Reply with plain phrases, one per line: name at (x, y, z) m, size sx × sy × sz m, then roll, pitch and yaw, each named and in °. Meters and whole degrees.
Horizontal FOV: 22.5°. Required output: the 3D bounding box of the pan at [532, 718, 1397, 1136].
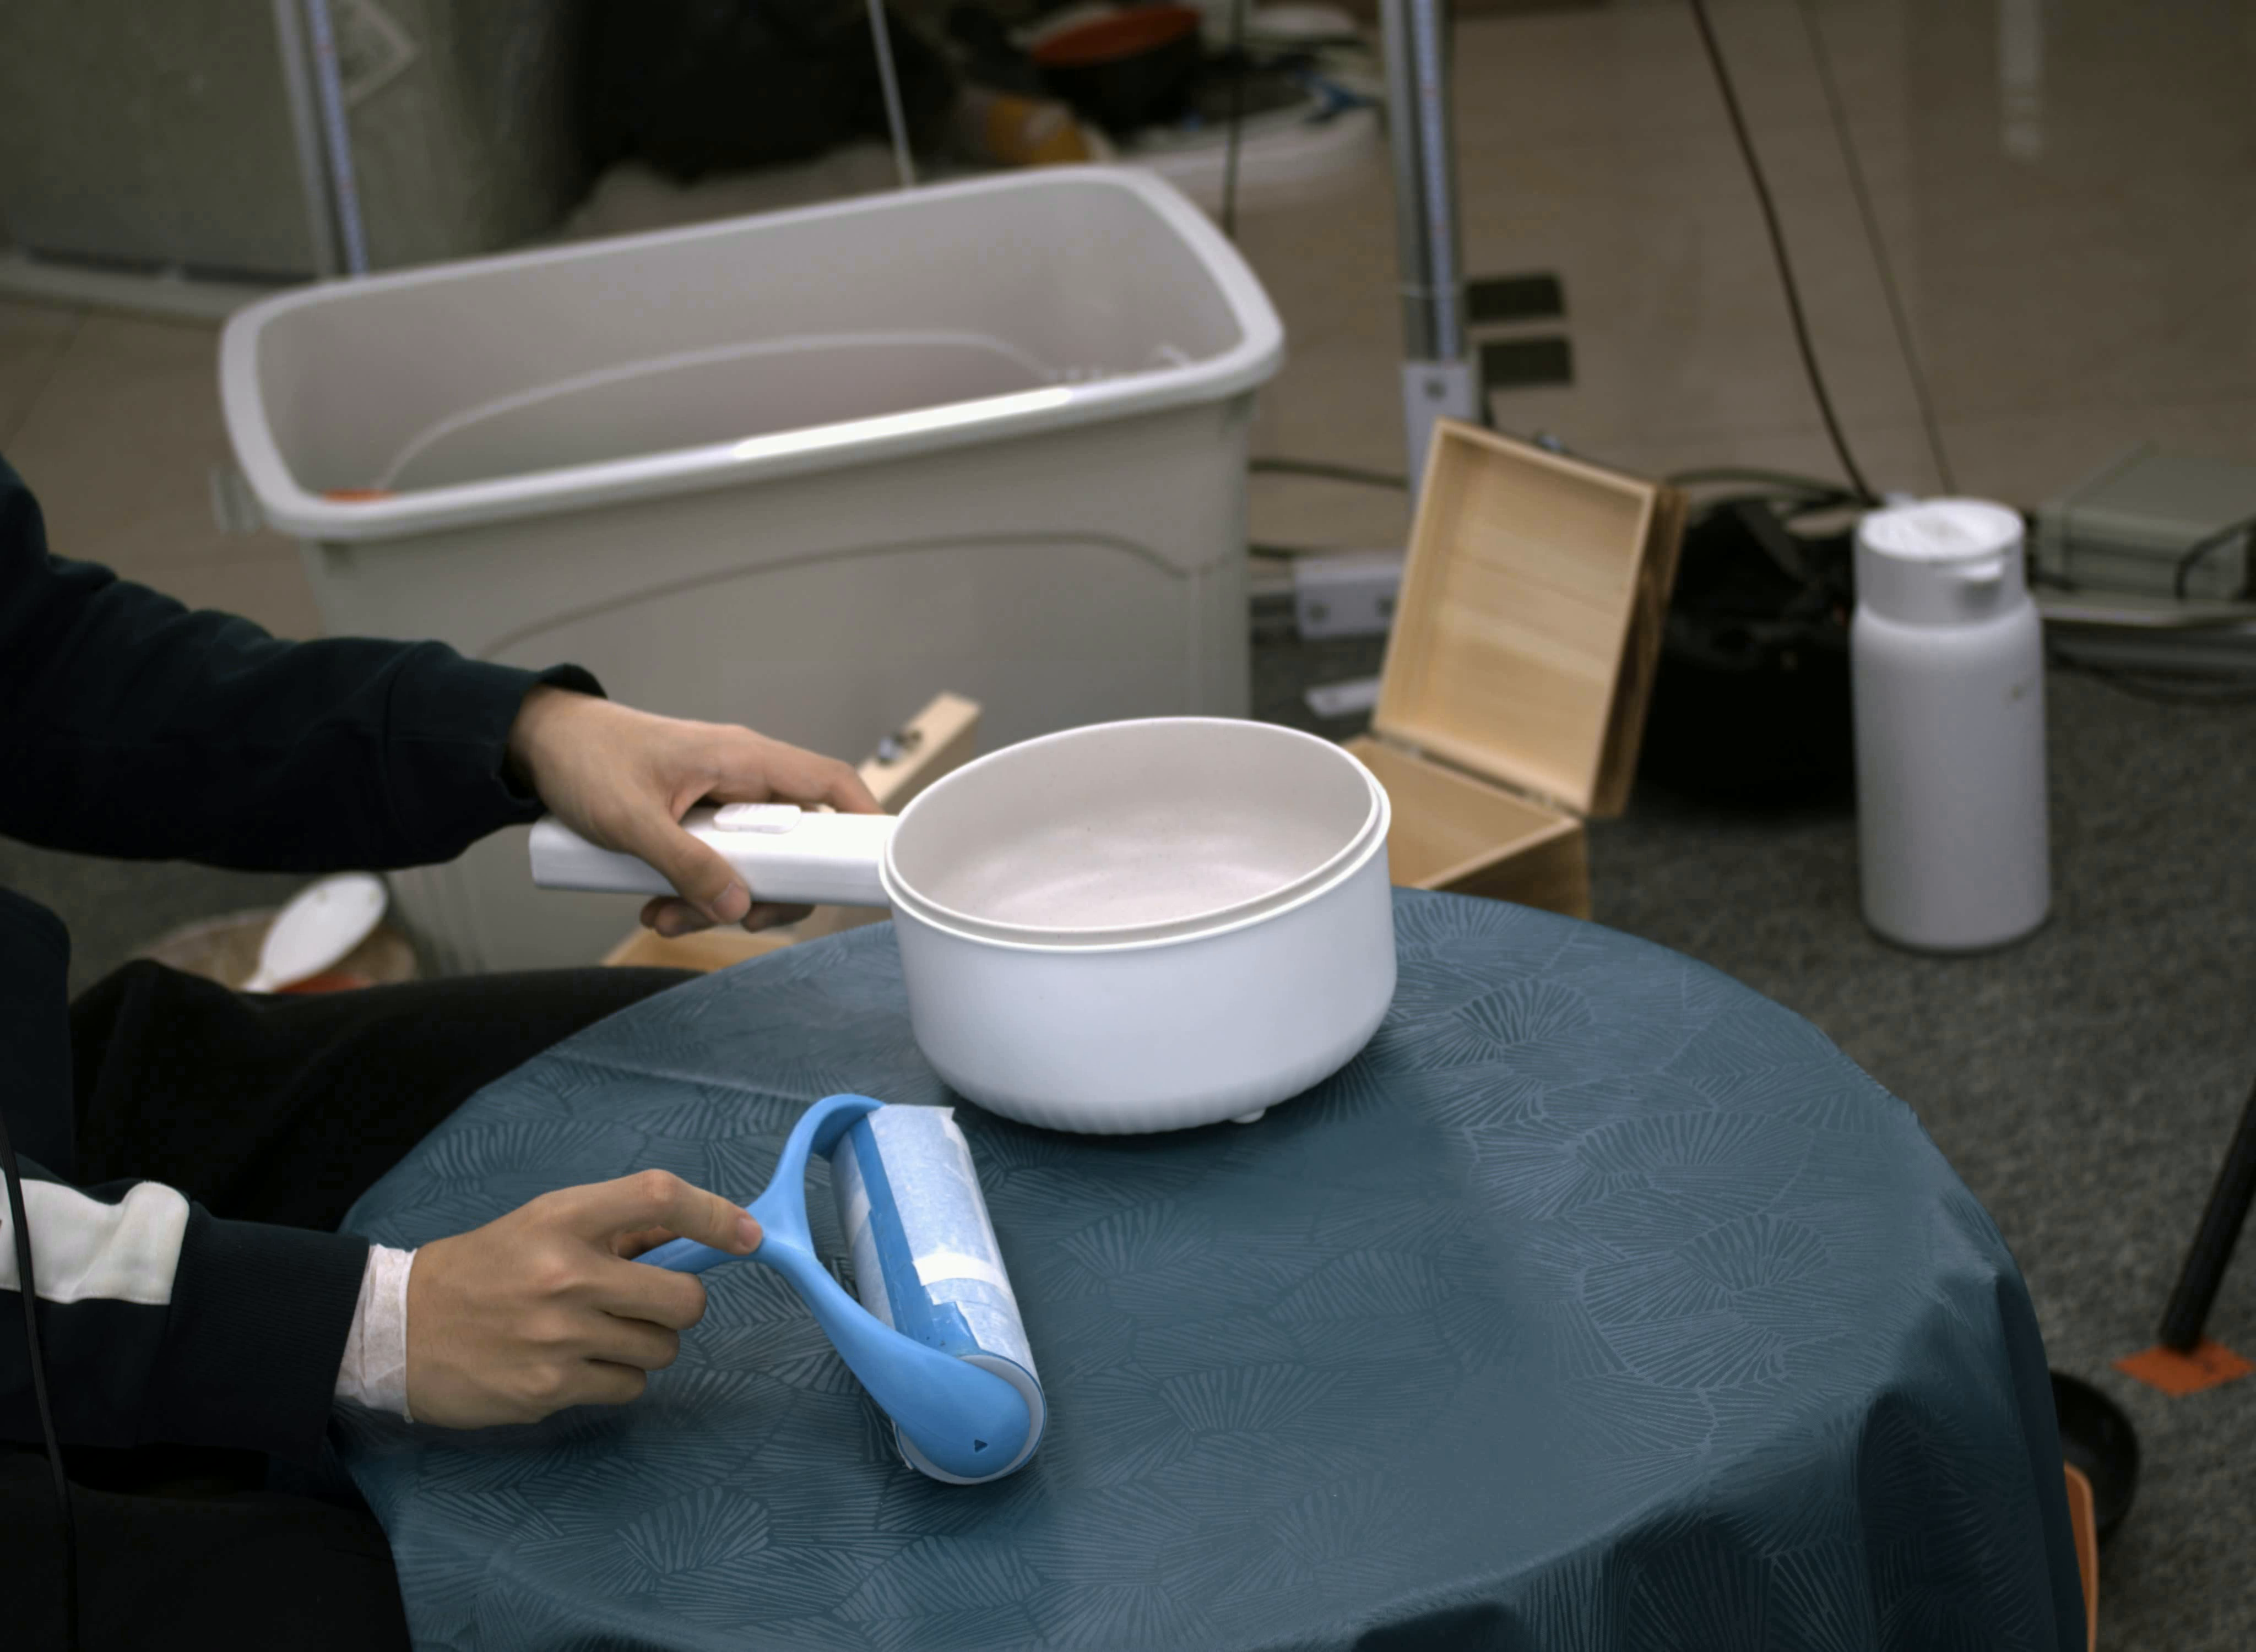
pan at (-0.065, 0.041, 2.250) m, size 0.354 × 0.104 × 0.198 m, roll 1°, pitch 27°, yaw 20°

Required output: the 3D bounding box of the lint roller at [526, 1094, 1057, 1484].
lint roller at (-0.126, 0.169, 2.029) m, size 0.180 × 0.069 × 0.225 m, roll -5°, pitch 26°, yaw -12°
